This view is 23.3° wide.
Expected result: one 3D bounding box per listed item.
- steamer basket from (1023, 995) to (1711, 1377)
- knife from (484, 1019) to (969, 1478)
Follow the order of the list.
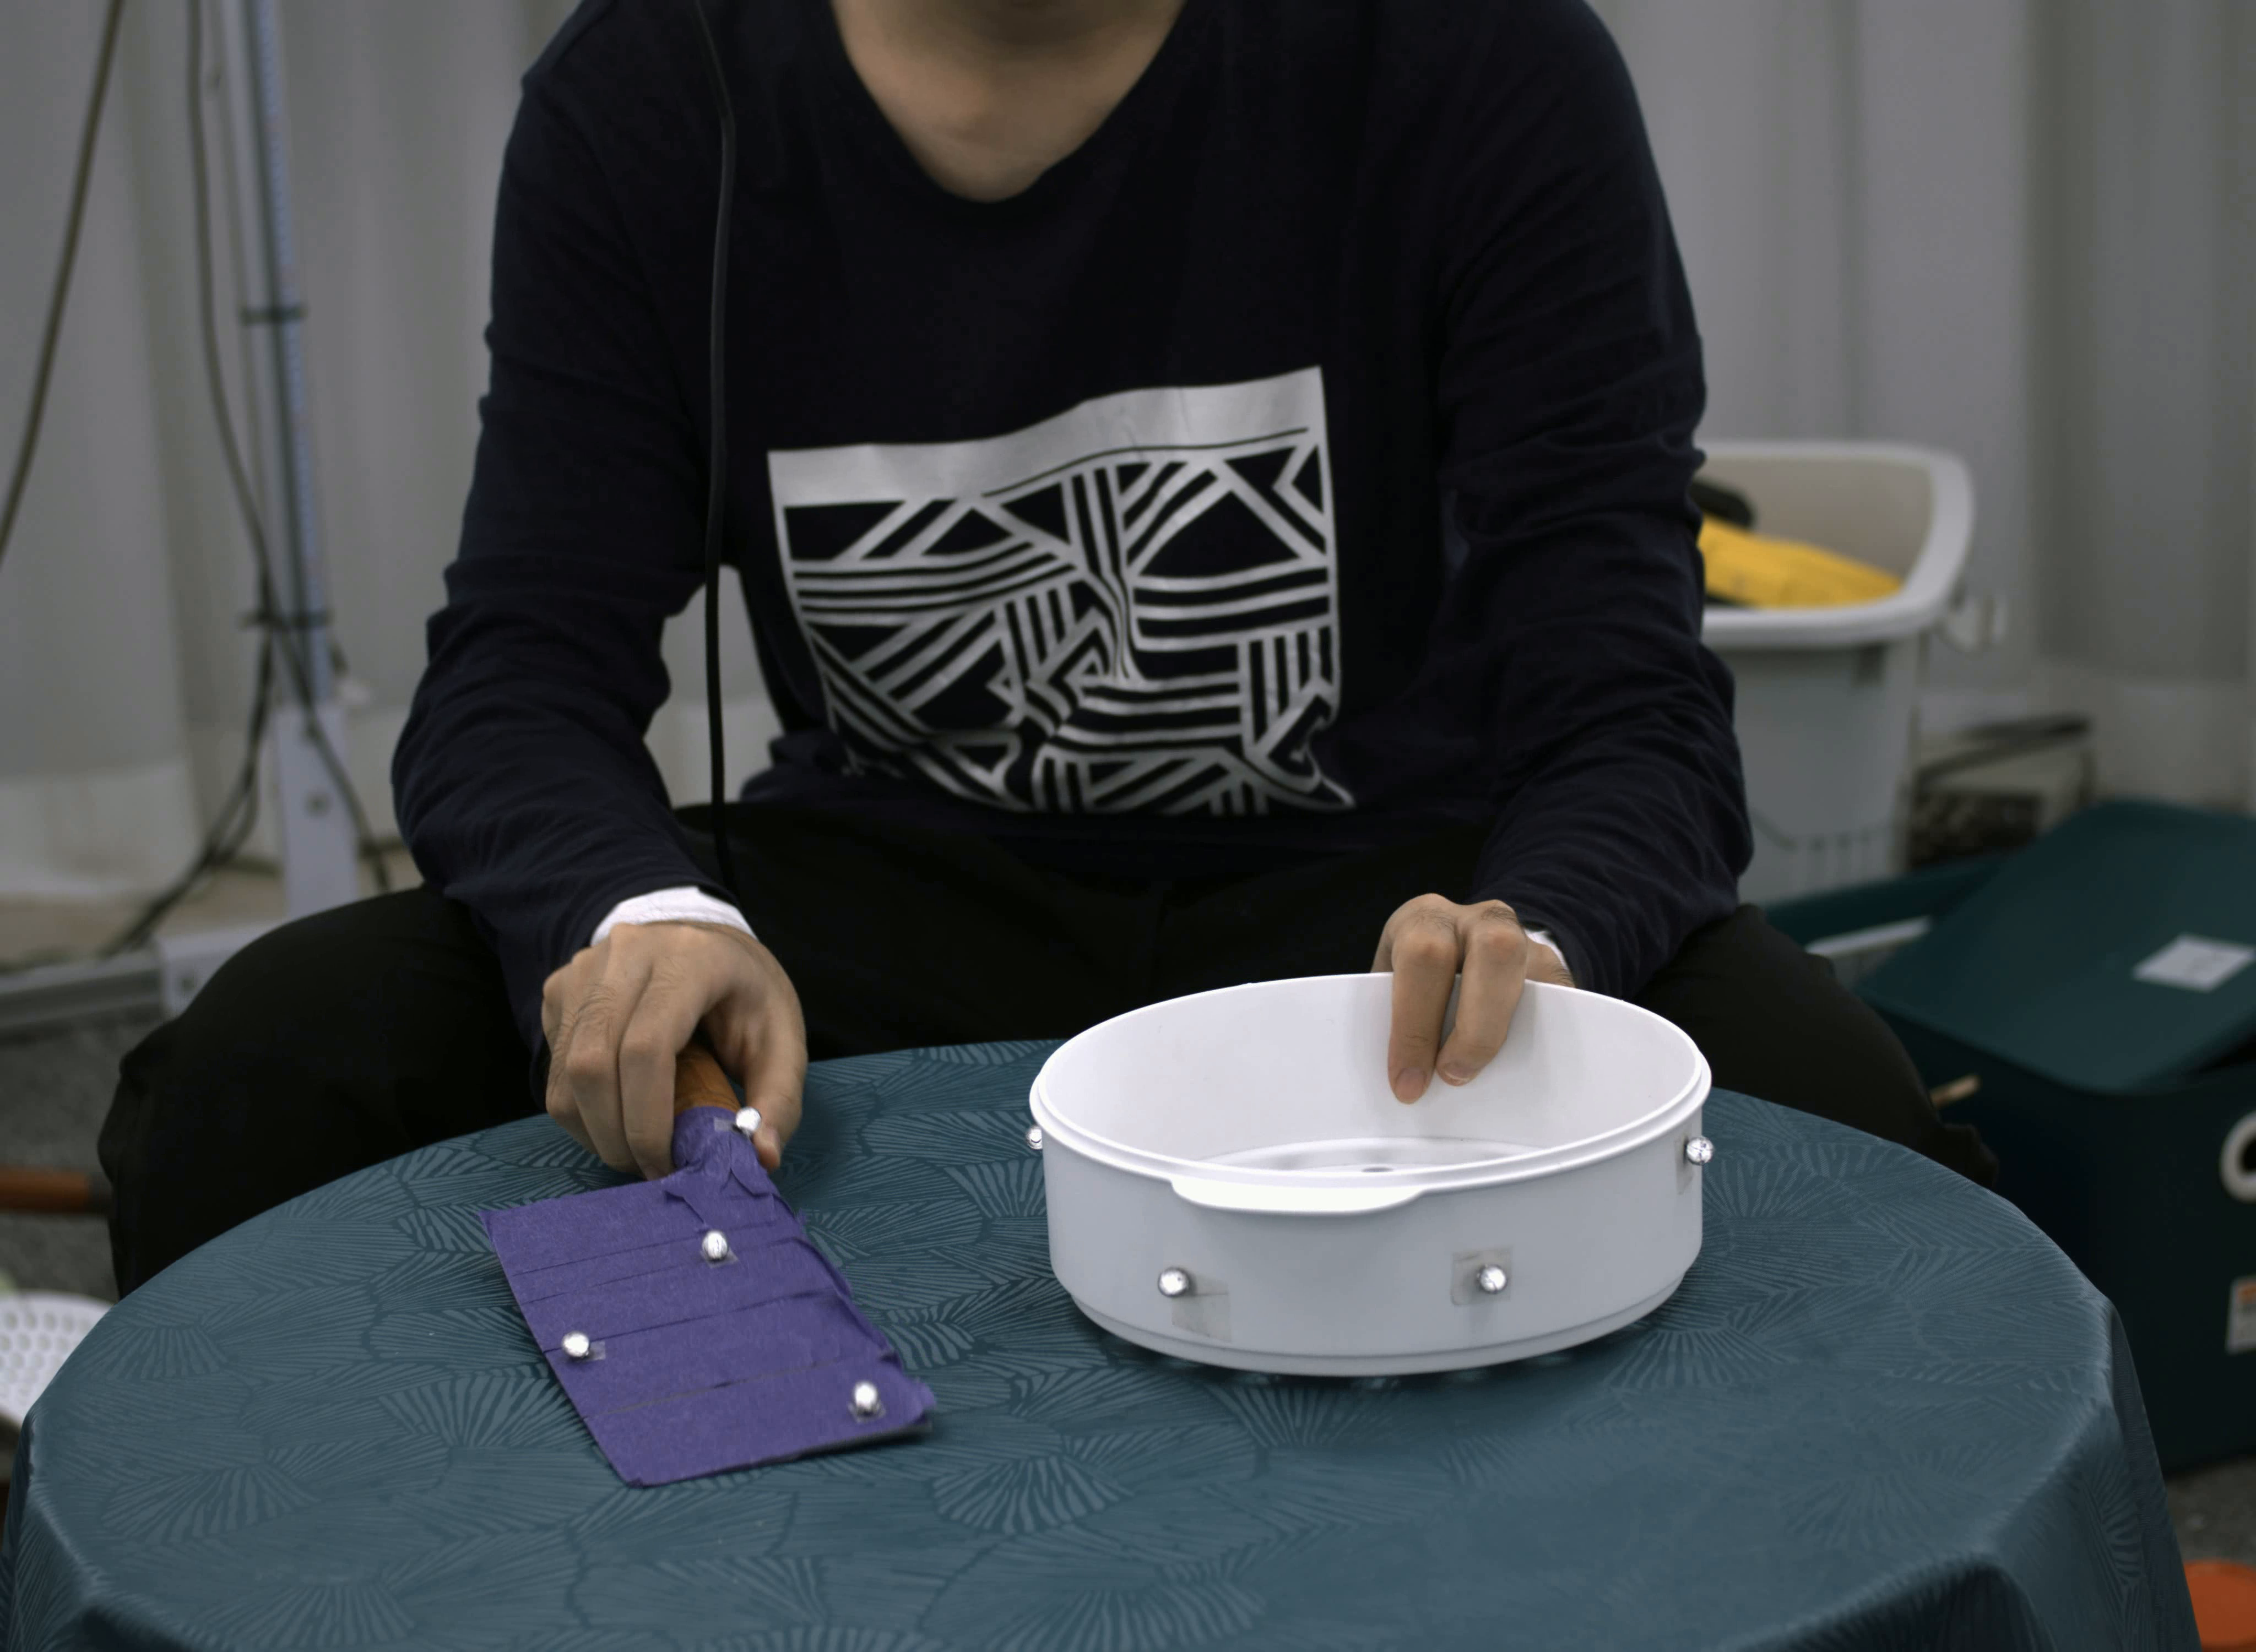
[{"bbox_3d":[0.070,0.106,1.612,0.202,0.069,0.231,3,13,15],"label":"steamer basket"},{"bbox_3d":[-0.141,0.122,1.642,0.103,0.032,0.318,-11,18,-16],"label":"knife"}]
